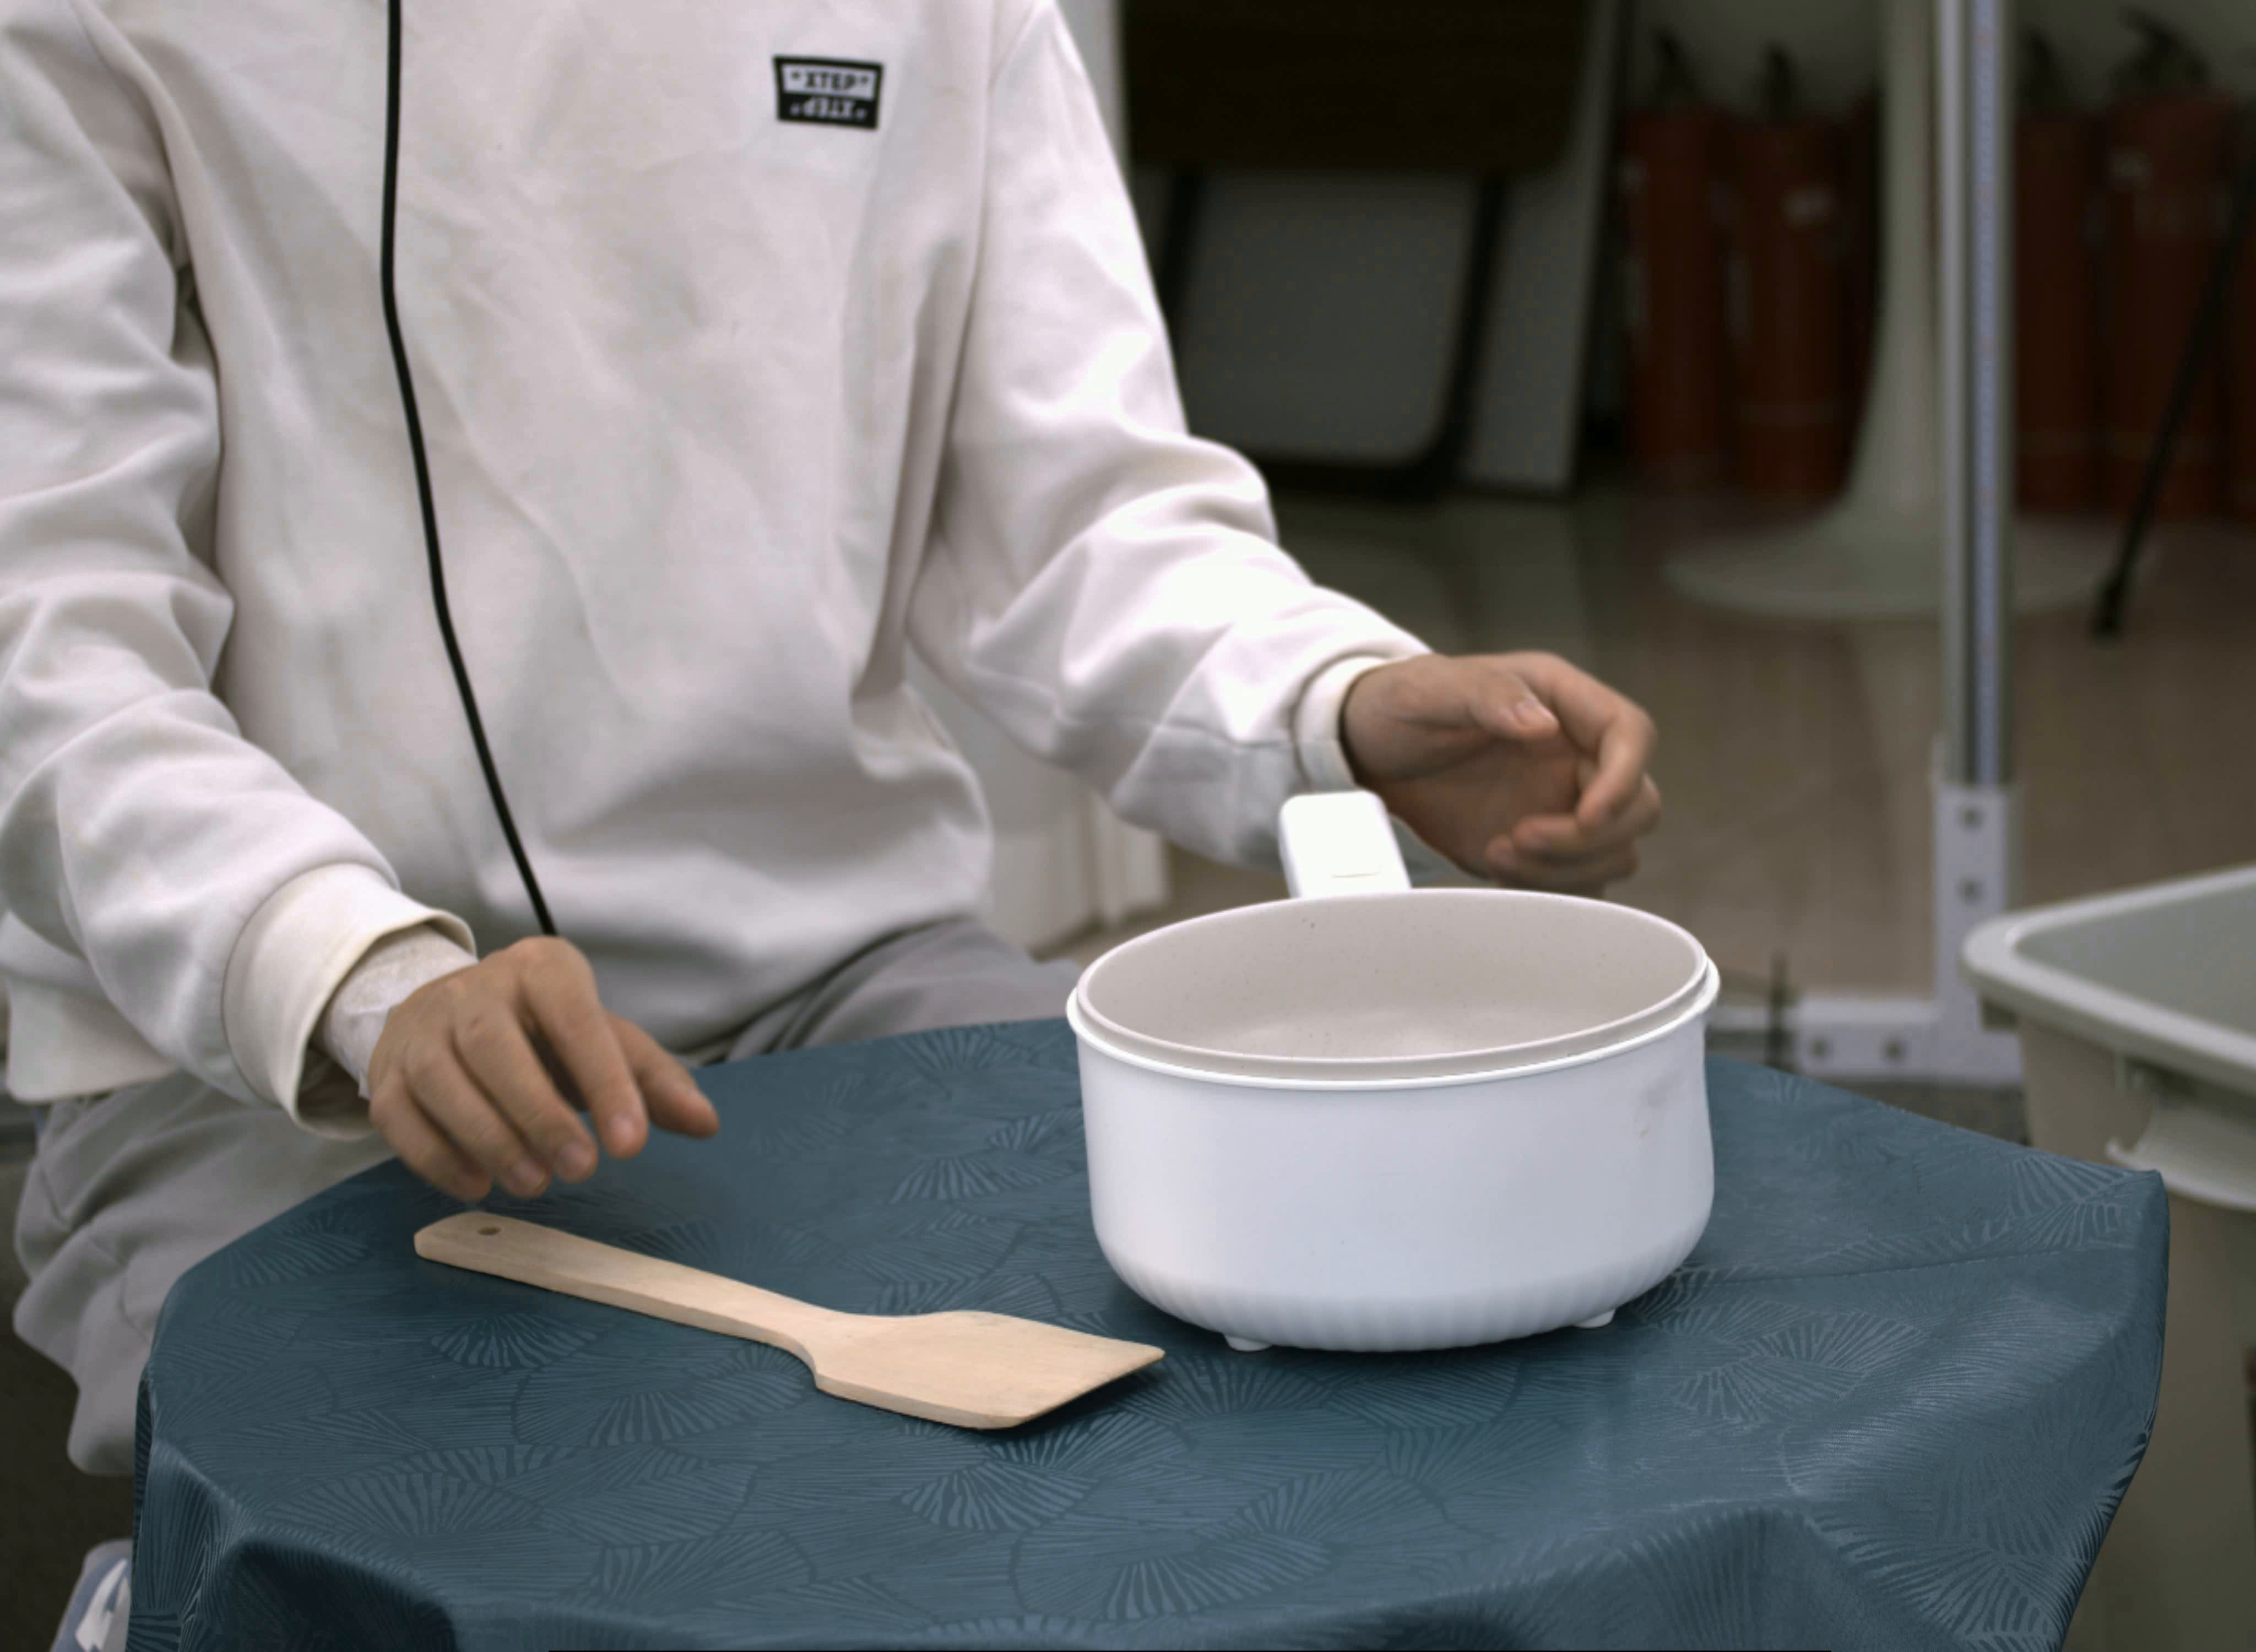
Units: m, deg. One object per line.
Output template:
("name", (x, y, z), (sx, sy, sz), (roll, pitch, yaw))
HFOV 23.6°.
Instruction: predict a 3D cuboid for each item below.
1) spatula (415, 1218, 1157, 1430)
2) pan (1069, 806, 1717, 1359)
("spatula", (-0.119, 0.151, 1.669), (0.295, 0.011, 0.071), (8, 20, 42))
("pan", (0.082, 0.077, 1.732), (0.198, 0.103, 0.355), (-5, 12, 0))
